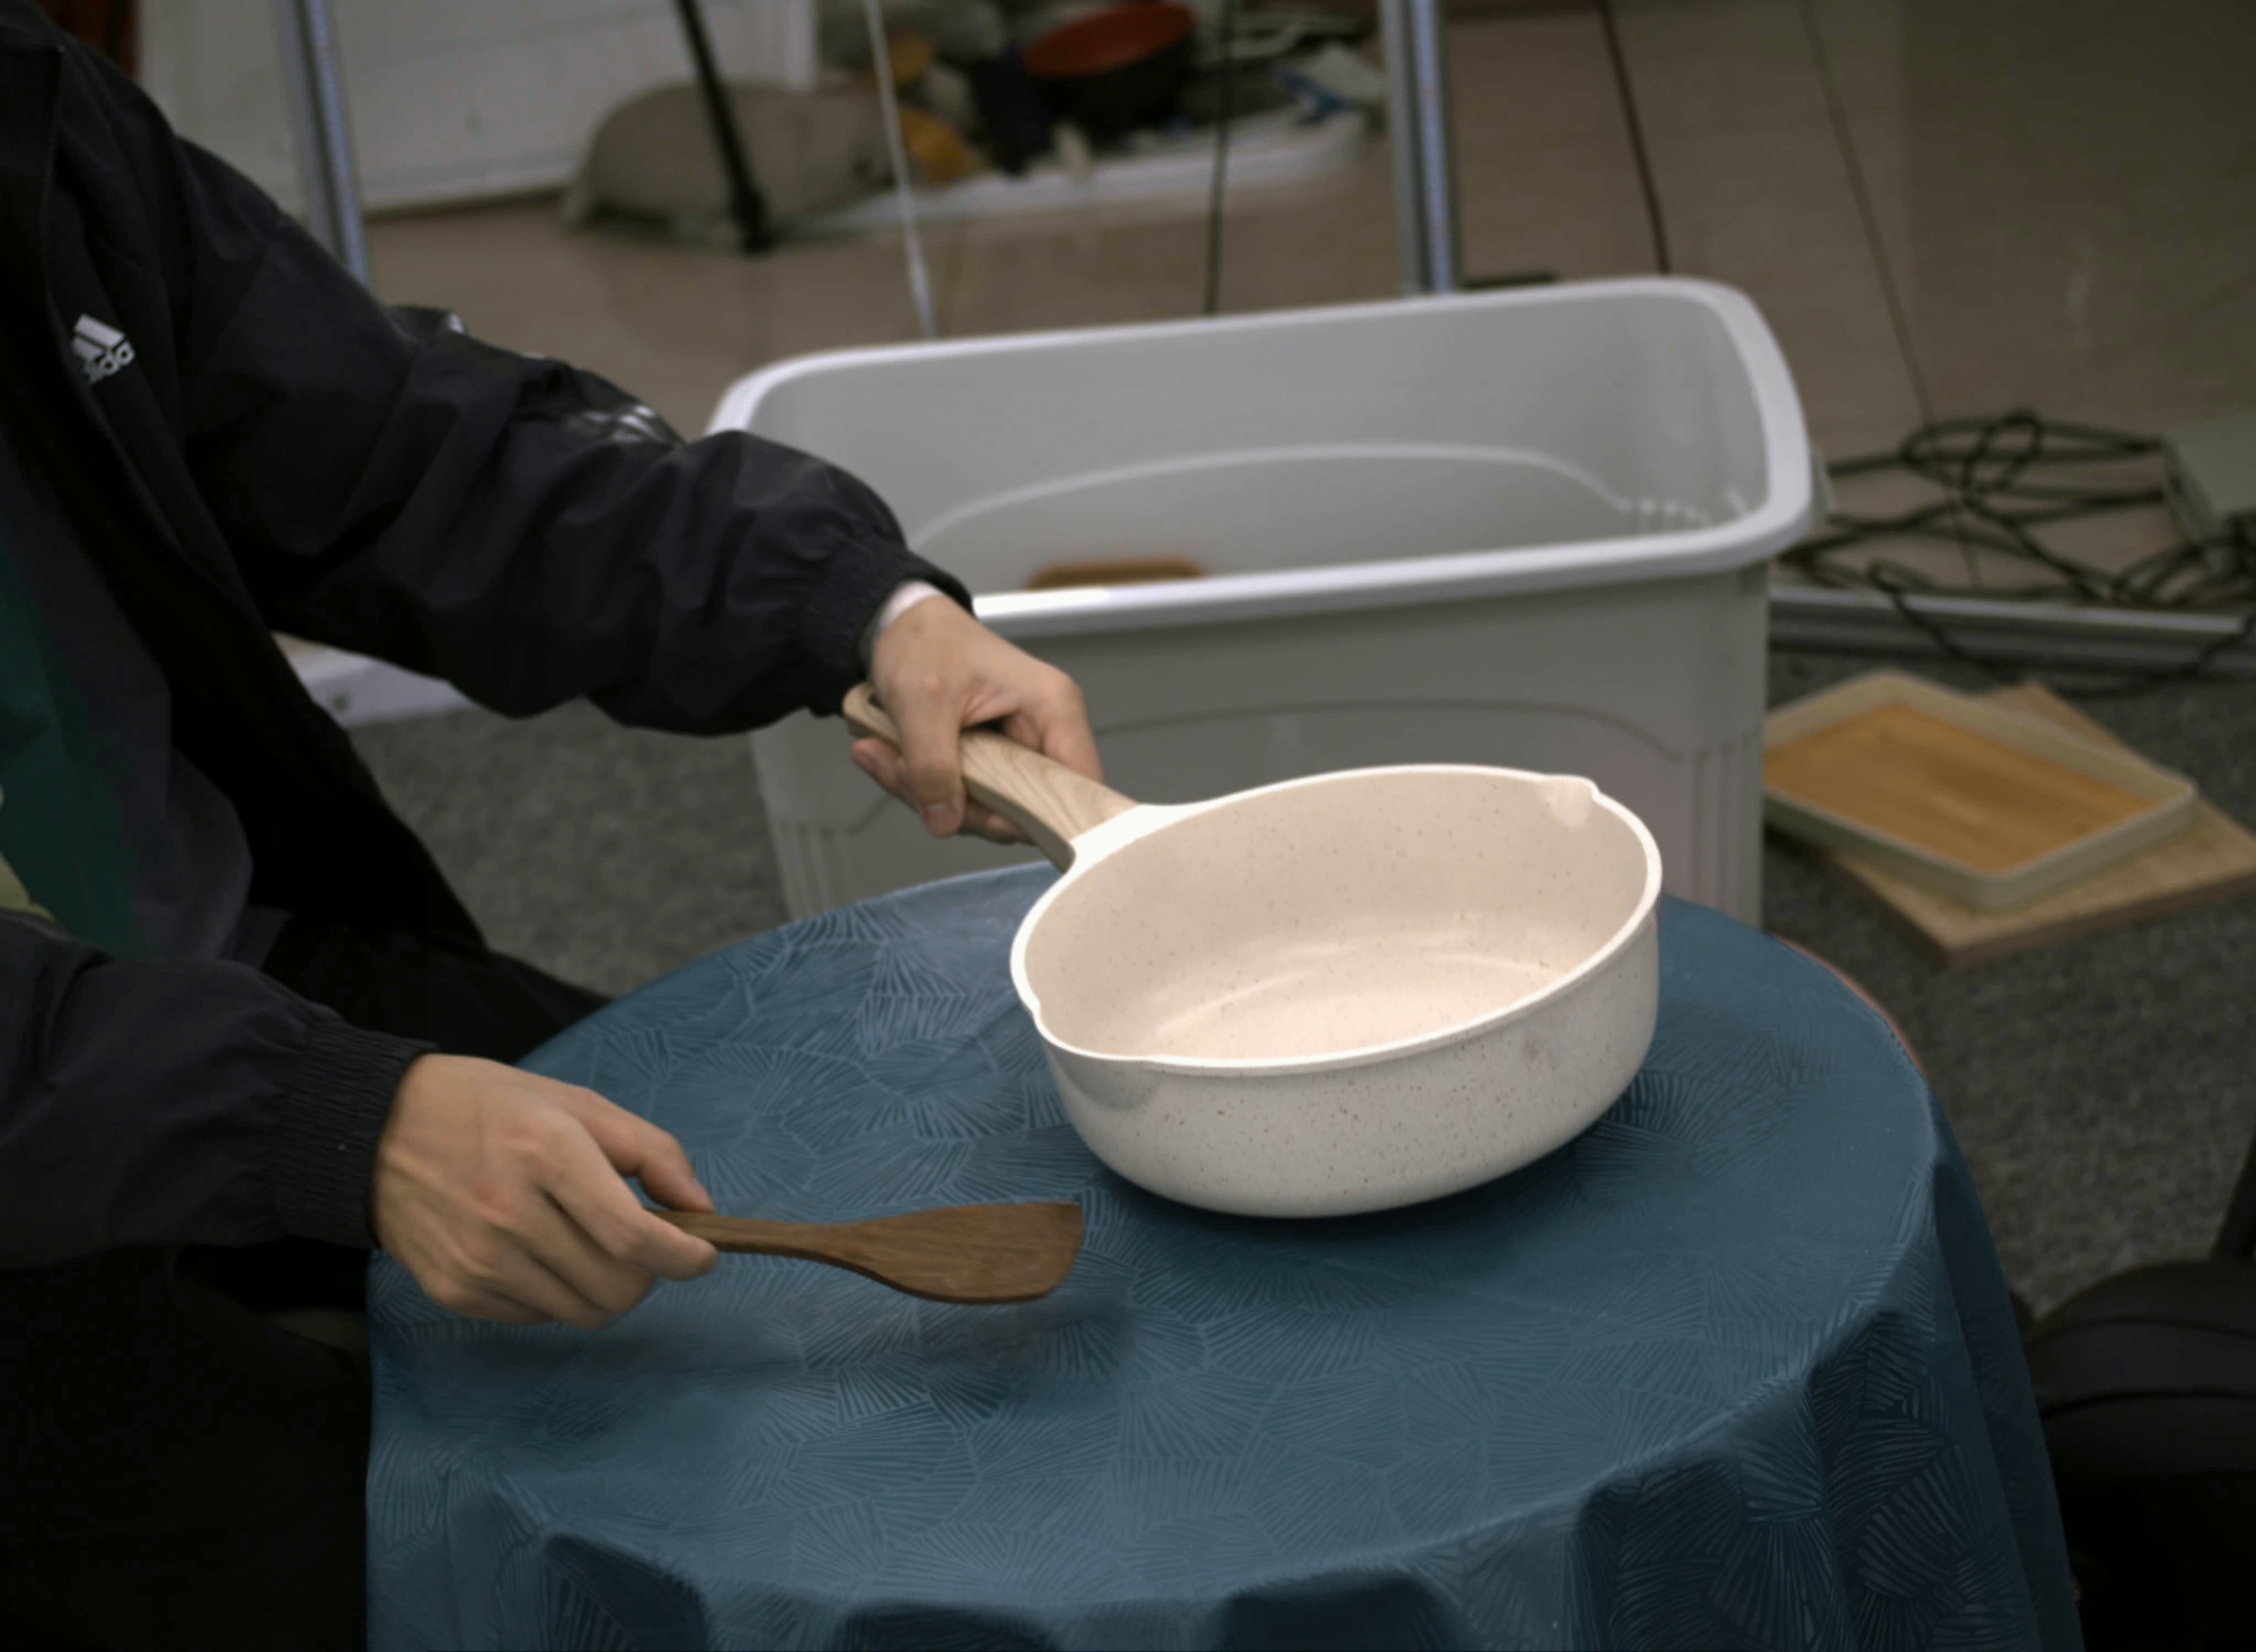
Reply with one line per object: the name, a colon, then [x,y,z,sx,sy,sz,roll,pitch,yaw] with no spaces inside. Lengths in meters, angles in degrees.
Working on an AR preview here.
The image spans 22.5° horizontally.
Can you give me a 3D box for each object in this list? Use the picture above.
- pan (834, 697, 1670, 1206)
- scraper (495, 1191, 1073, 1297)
pan: [0.030,0.036,2.233,0.261,0.103,0.431,-29,29,-30]
scraper: [-0.125,0.148,2.053,0.211,0.011,0.075,2,24,8]
